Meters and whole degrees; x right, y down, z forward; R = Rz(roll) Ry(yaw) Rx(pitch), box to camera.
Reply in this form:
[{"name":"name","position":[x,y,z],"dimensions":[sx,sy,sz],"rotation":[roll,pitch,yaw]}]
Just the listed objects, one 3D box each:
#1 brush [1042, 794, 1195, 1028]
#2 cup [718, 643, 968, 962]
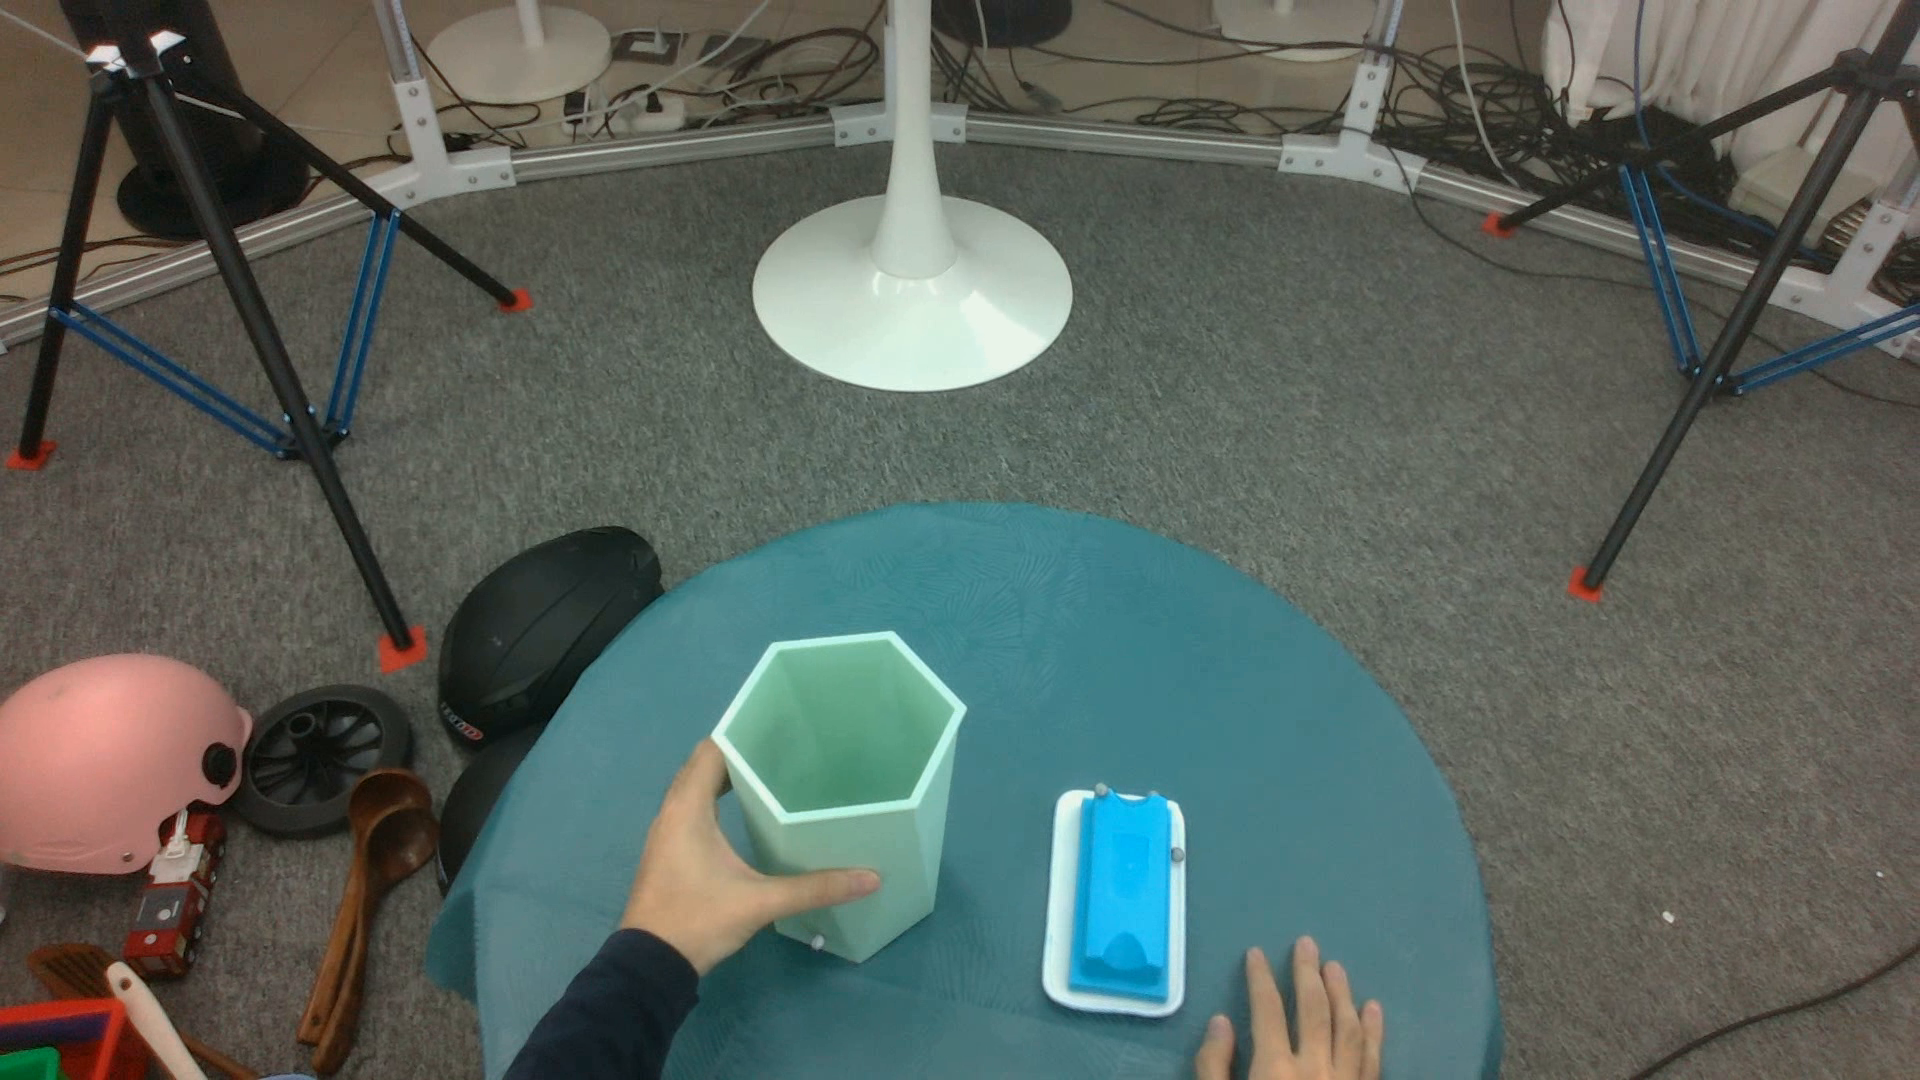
[{"name":"brush","position":[0.095,0.207,0.801],"dimensions":[0.084,0.055,0.144],"rotation":[6,44,7]},{"name":"cup","position":[-0.062,0.154,0.776],"dimensions":[0.131,0.162,0.115],"rotation":[-6,49,-7]}]
